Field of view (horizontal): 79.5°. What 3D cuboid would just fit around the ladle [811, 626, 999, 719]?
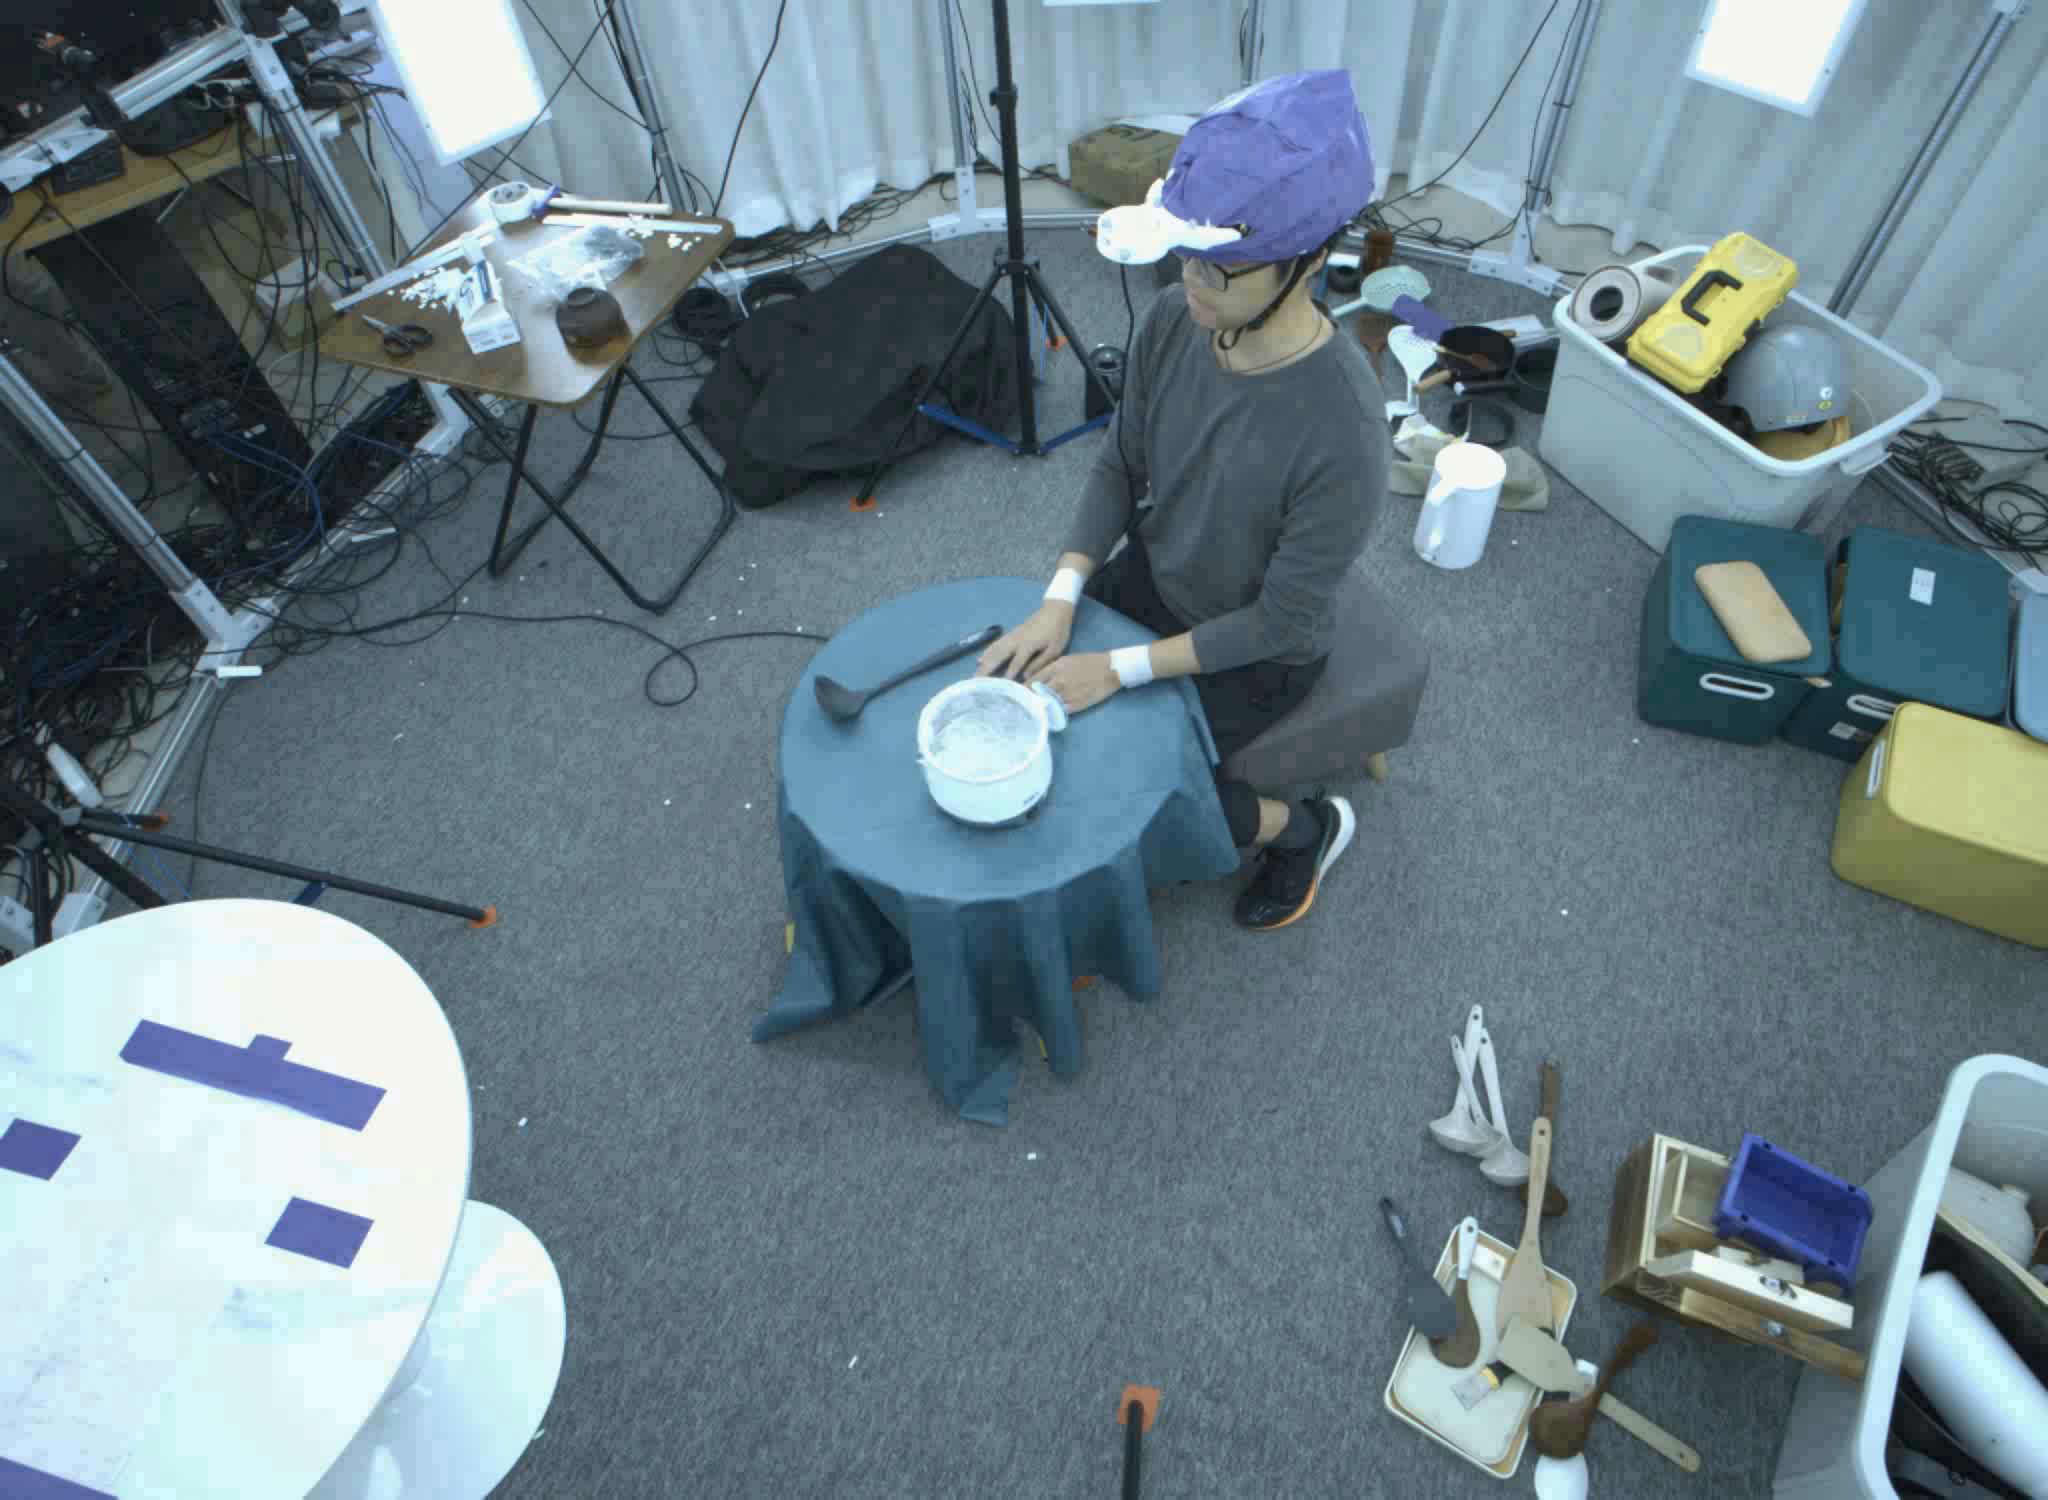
[{"bbox_3d":[-0.175,-0.133,1.856,0.316,0.064,0.085,-27,62,-17],"label":"ladle"}]

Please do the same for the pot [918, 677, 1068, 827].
[{"bbox_3d":[-0.032,-0.008,1.718,0.175,0.138,0.235,38,63,25],"label":"pot"}]
